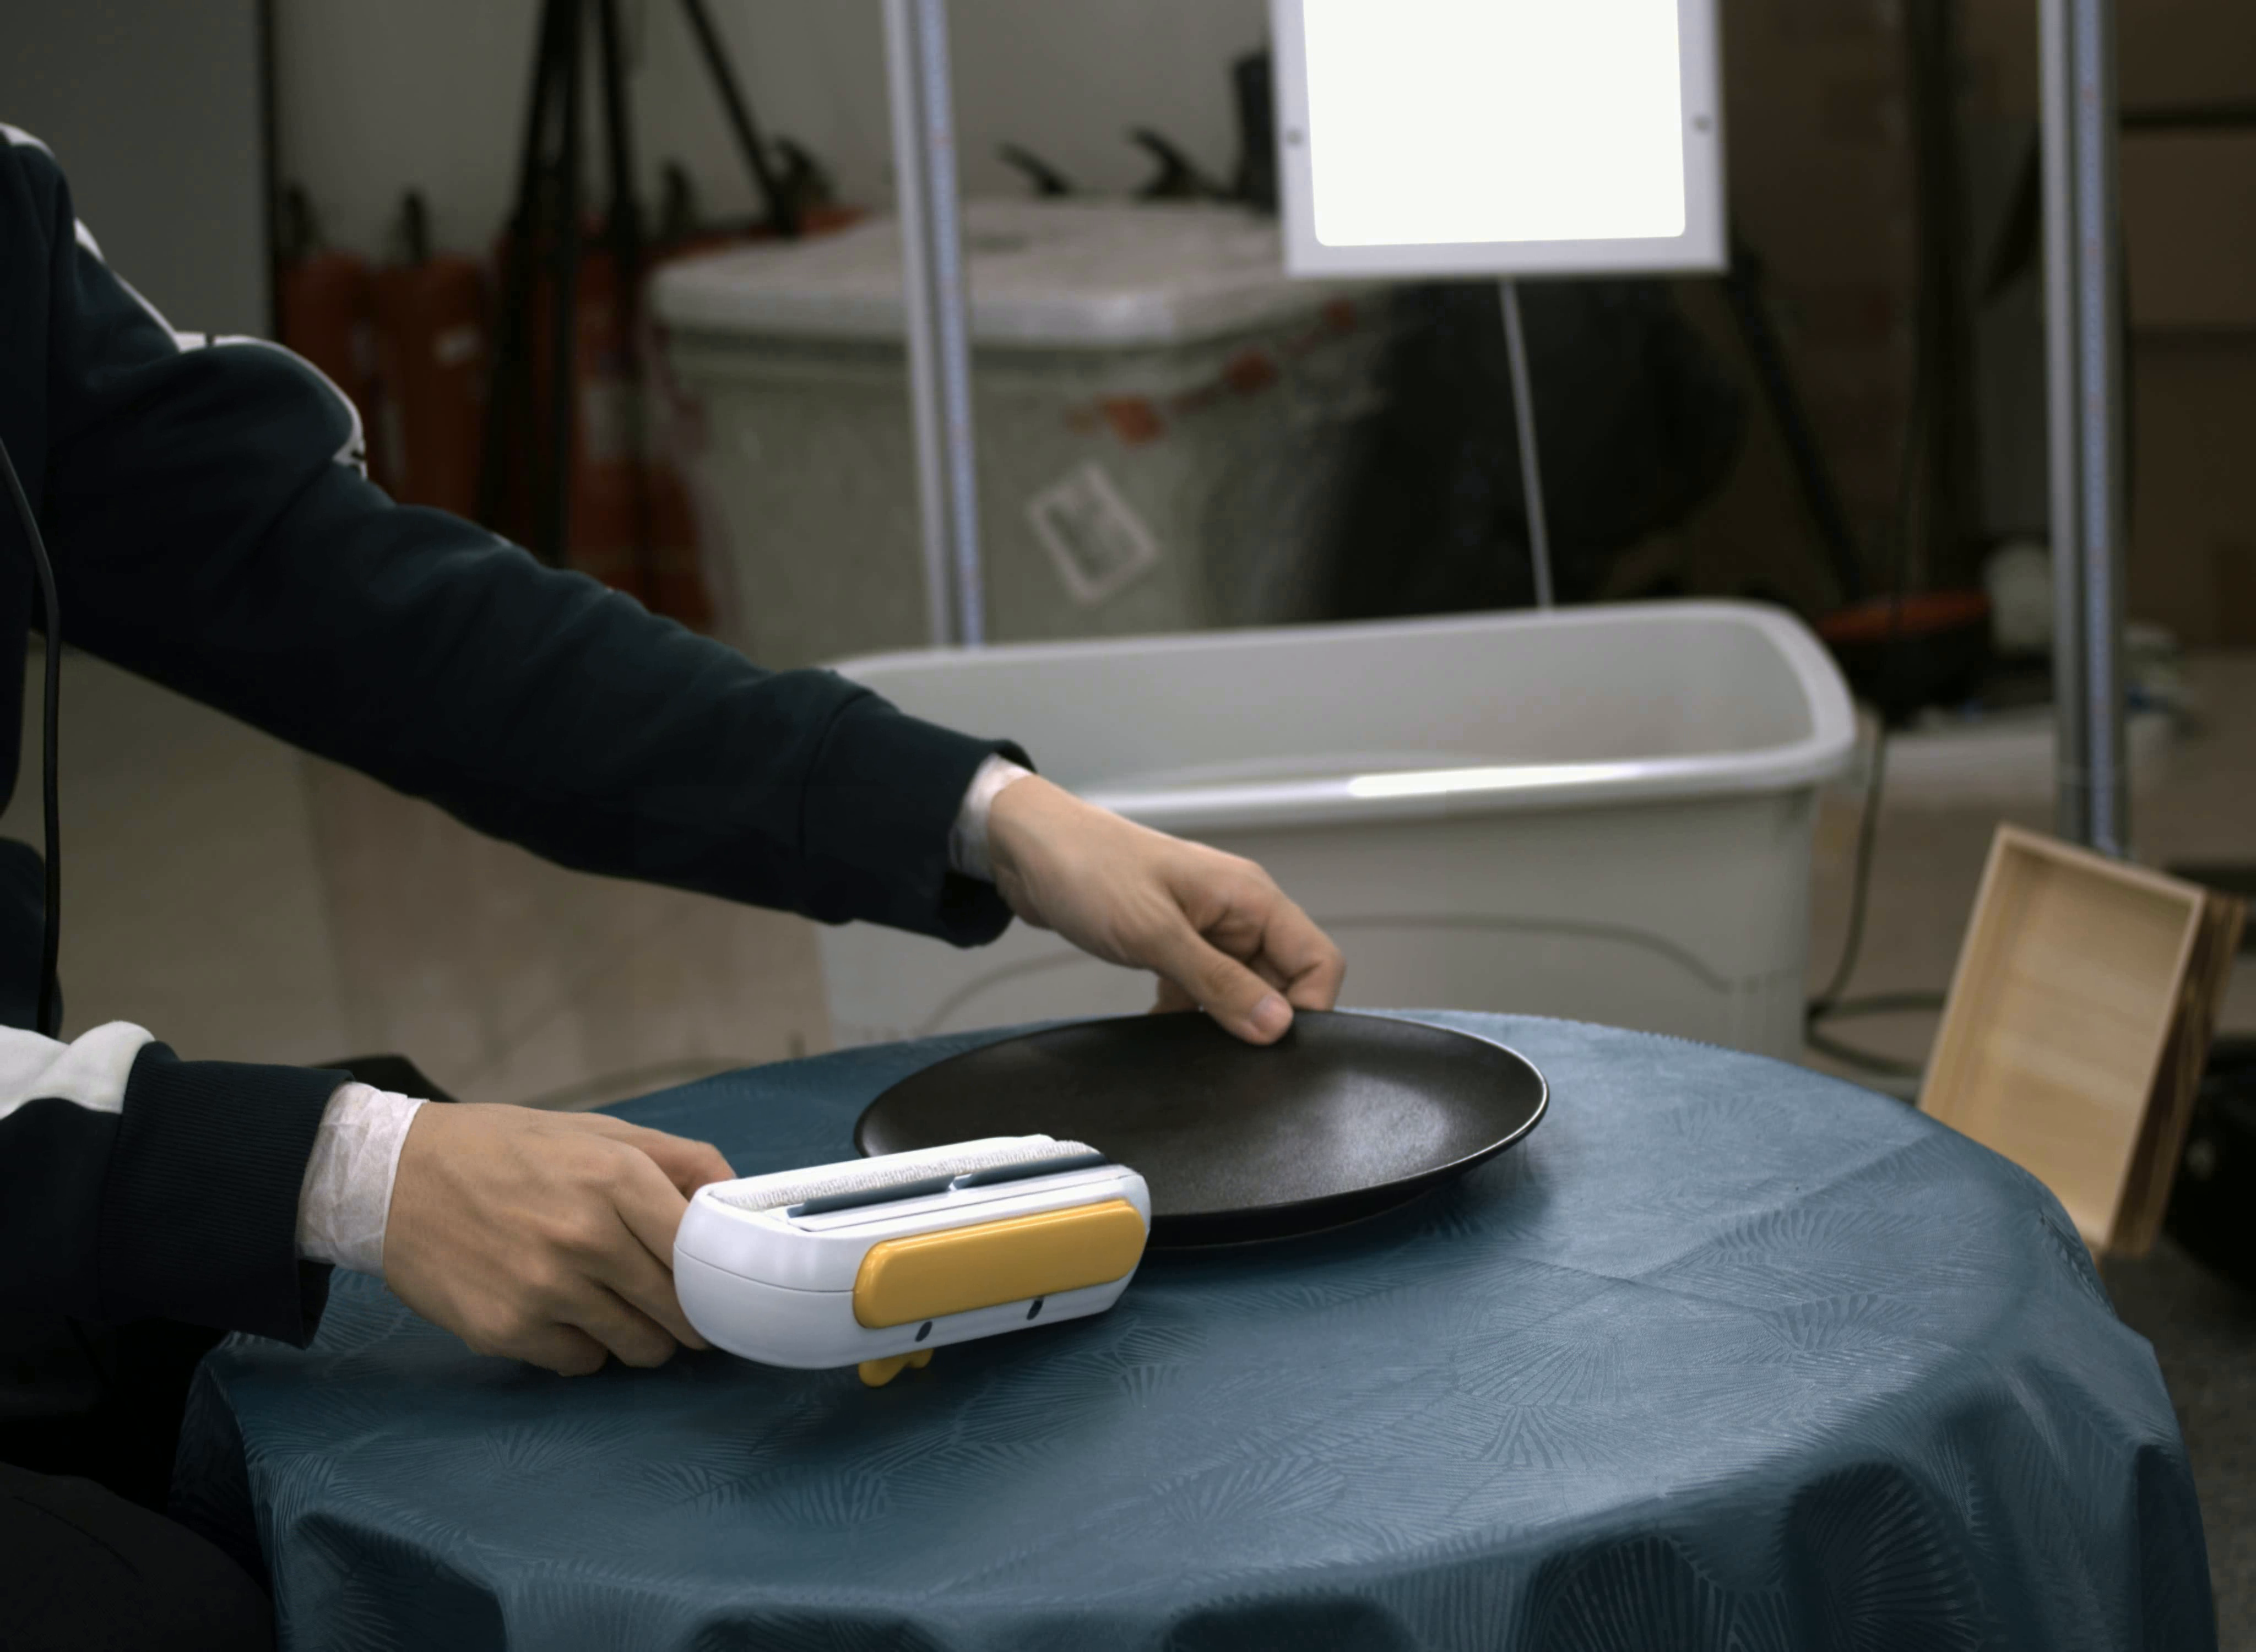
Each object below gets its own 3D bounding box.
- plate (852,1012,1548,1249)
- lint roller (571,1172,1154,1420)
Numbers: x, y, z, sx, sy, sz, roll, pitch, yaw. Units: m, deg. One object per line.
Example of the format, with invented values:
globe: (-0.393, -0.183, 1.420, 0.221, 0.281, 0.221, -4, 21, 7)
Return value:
plate: (0.026, 0.108, 1.913, 0.244, 0.023, 0.244, -5, 14, 0)
lint roller: (-0.110, 0.154, 1.758, 0.197, 0.074, 0.188, -11, -2, 43)
